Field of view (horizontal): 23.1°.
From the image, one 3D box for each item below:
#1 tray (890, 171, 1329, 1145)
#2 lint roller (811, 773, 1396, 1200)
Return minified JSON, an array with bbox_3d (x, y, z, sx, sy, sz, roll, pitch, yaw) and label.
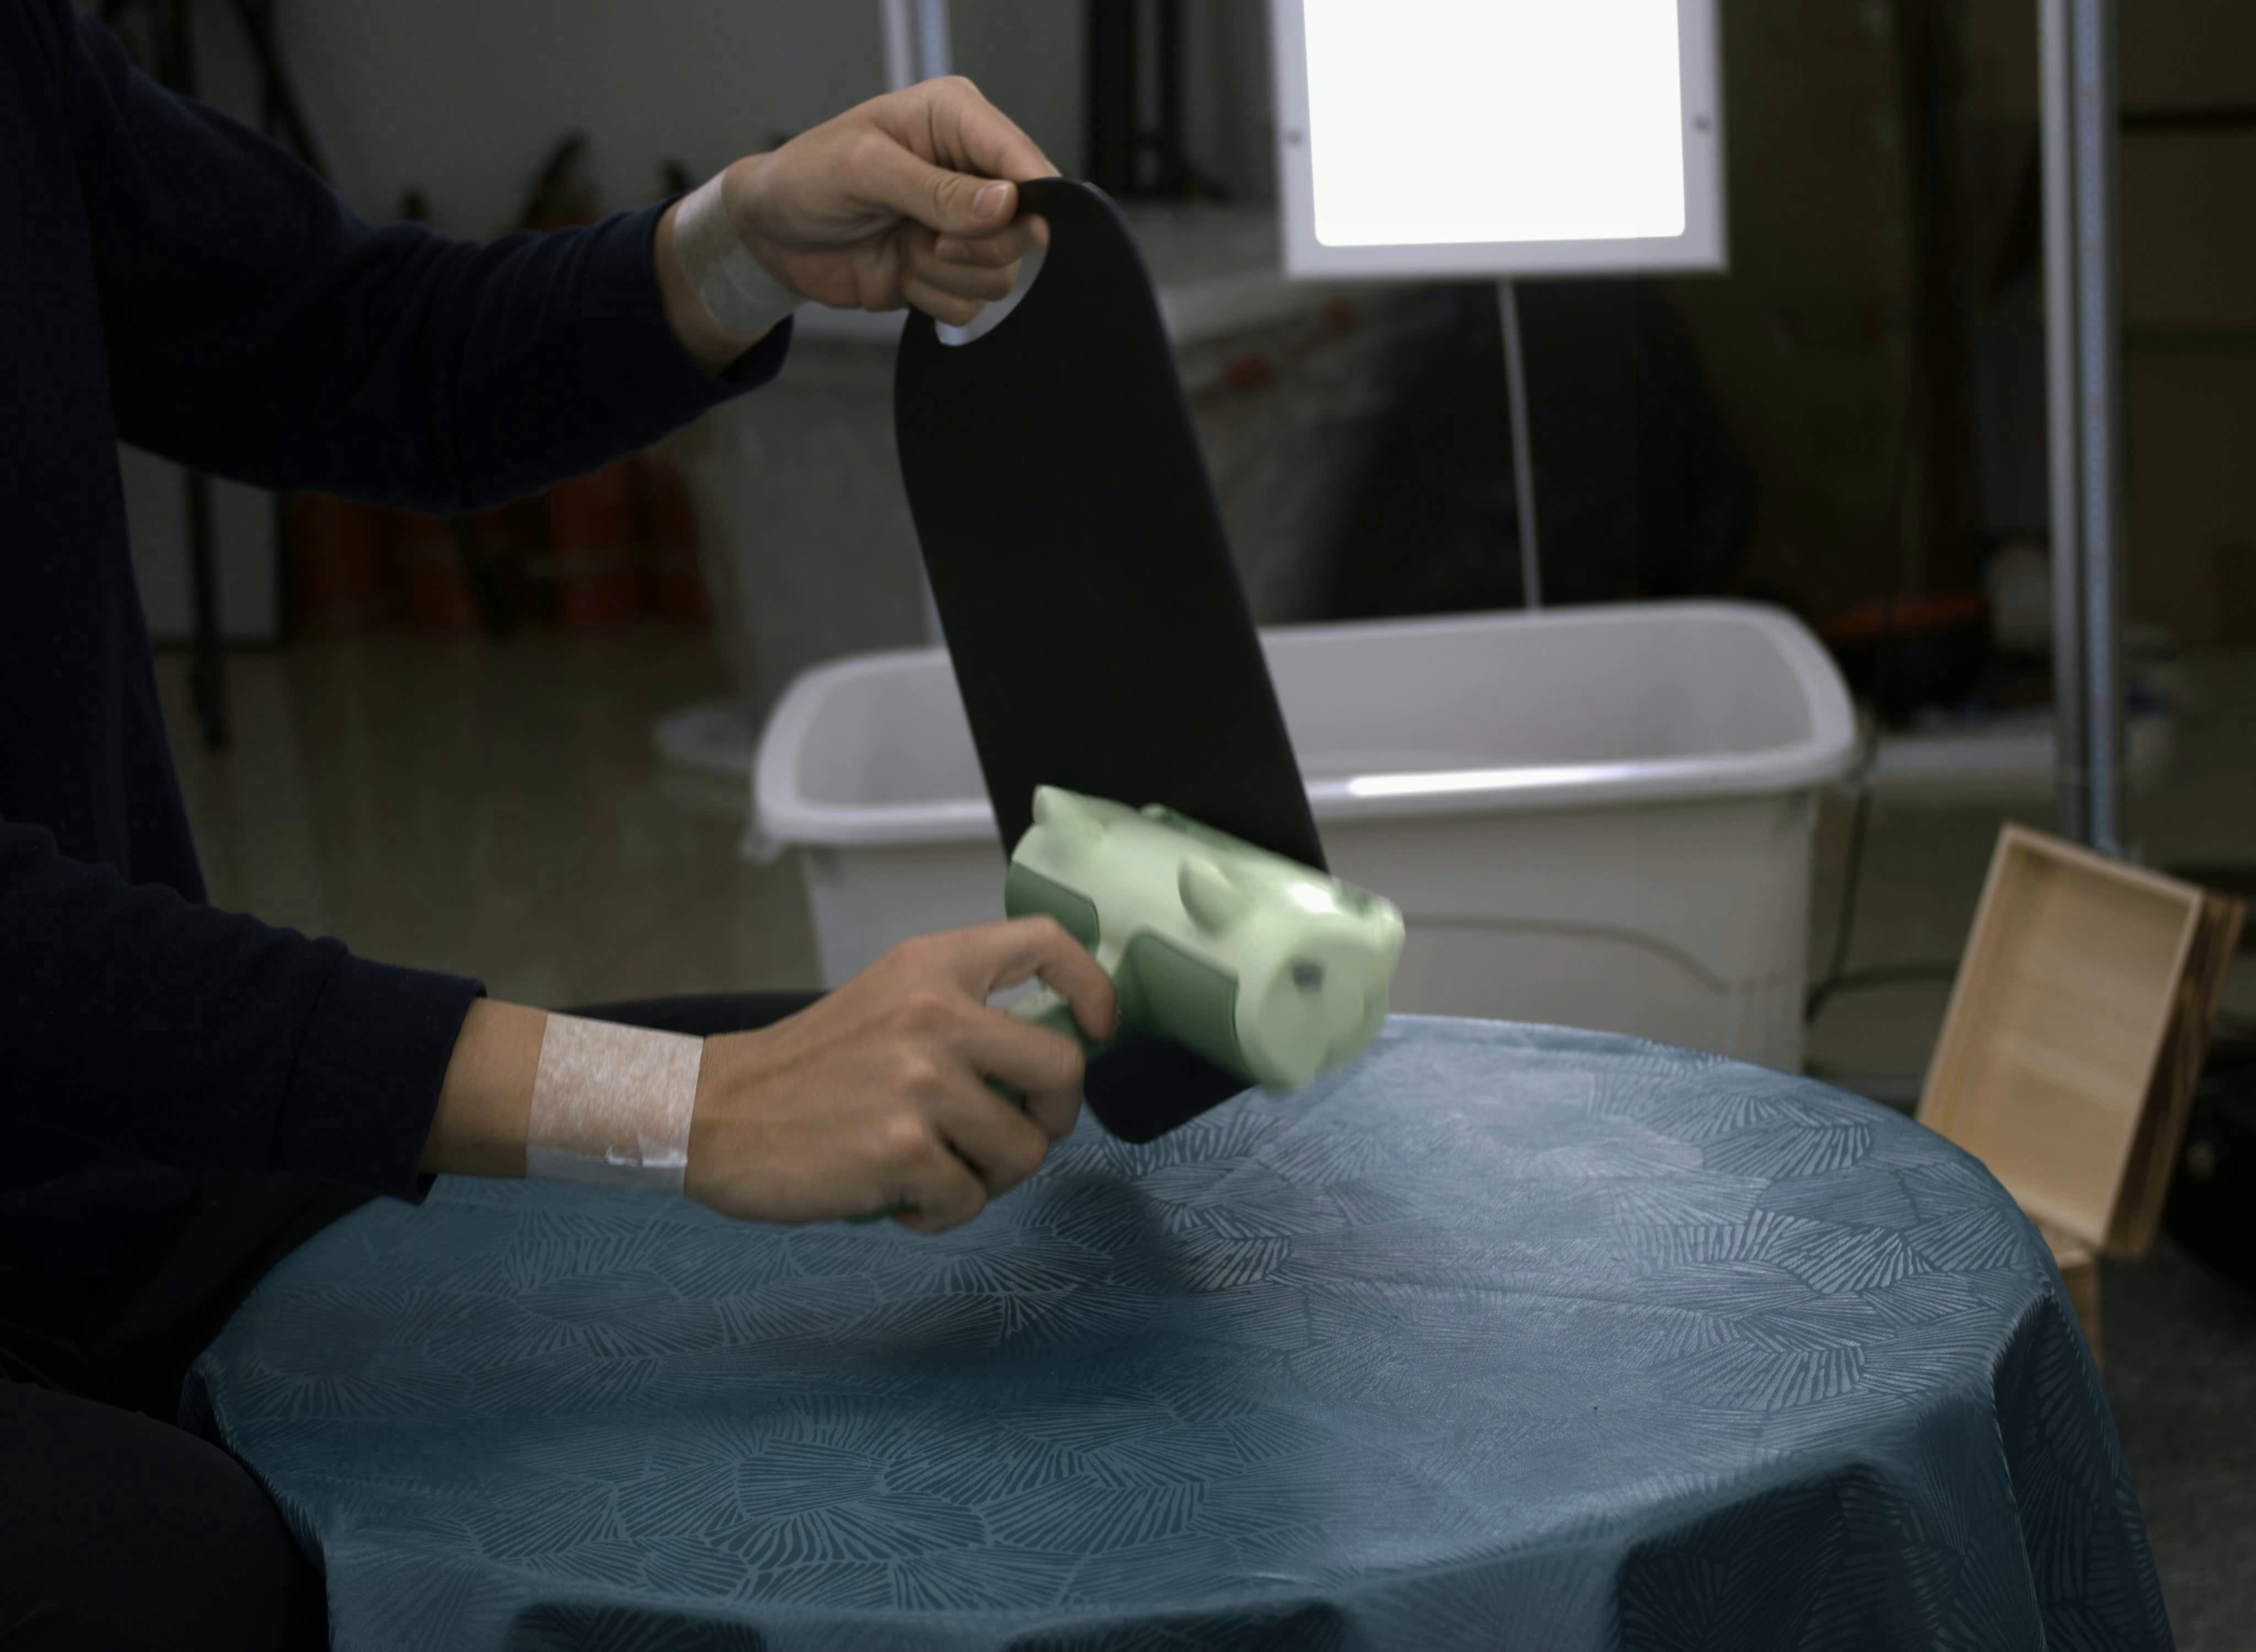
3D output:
[{"bbox_3d":[-0.009,-0.061,1.886,0.009,0.326,0.215,-12,-12,-27],"label":"tray"},{"bbox_3d":[-0.031,0.047,1.753,0.180,0.082,0.201,-26,18,-17],"label":"lint roller"}]
